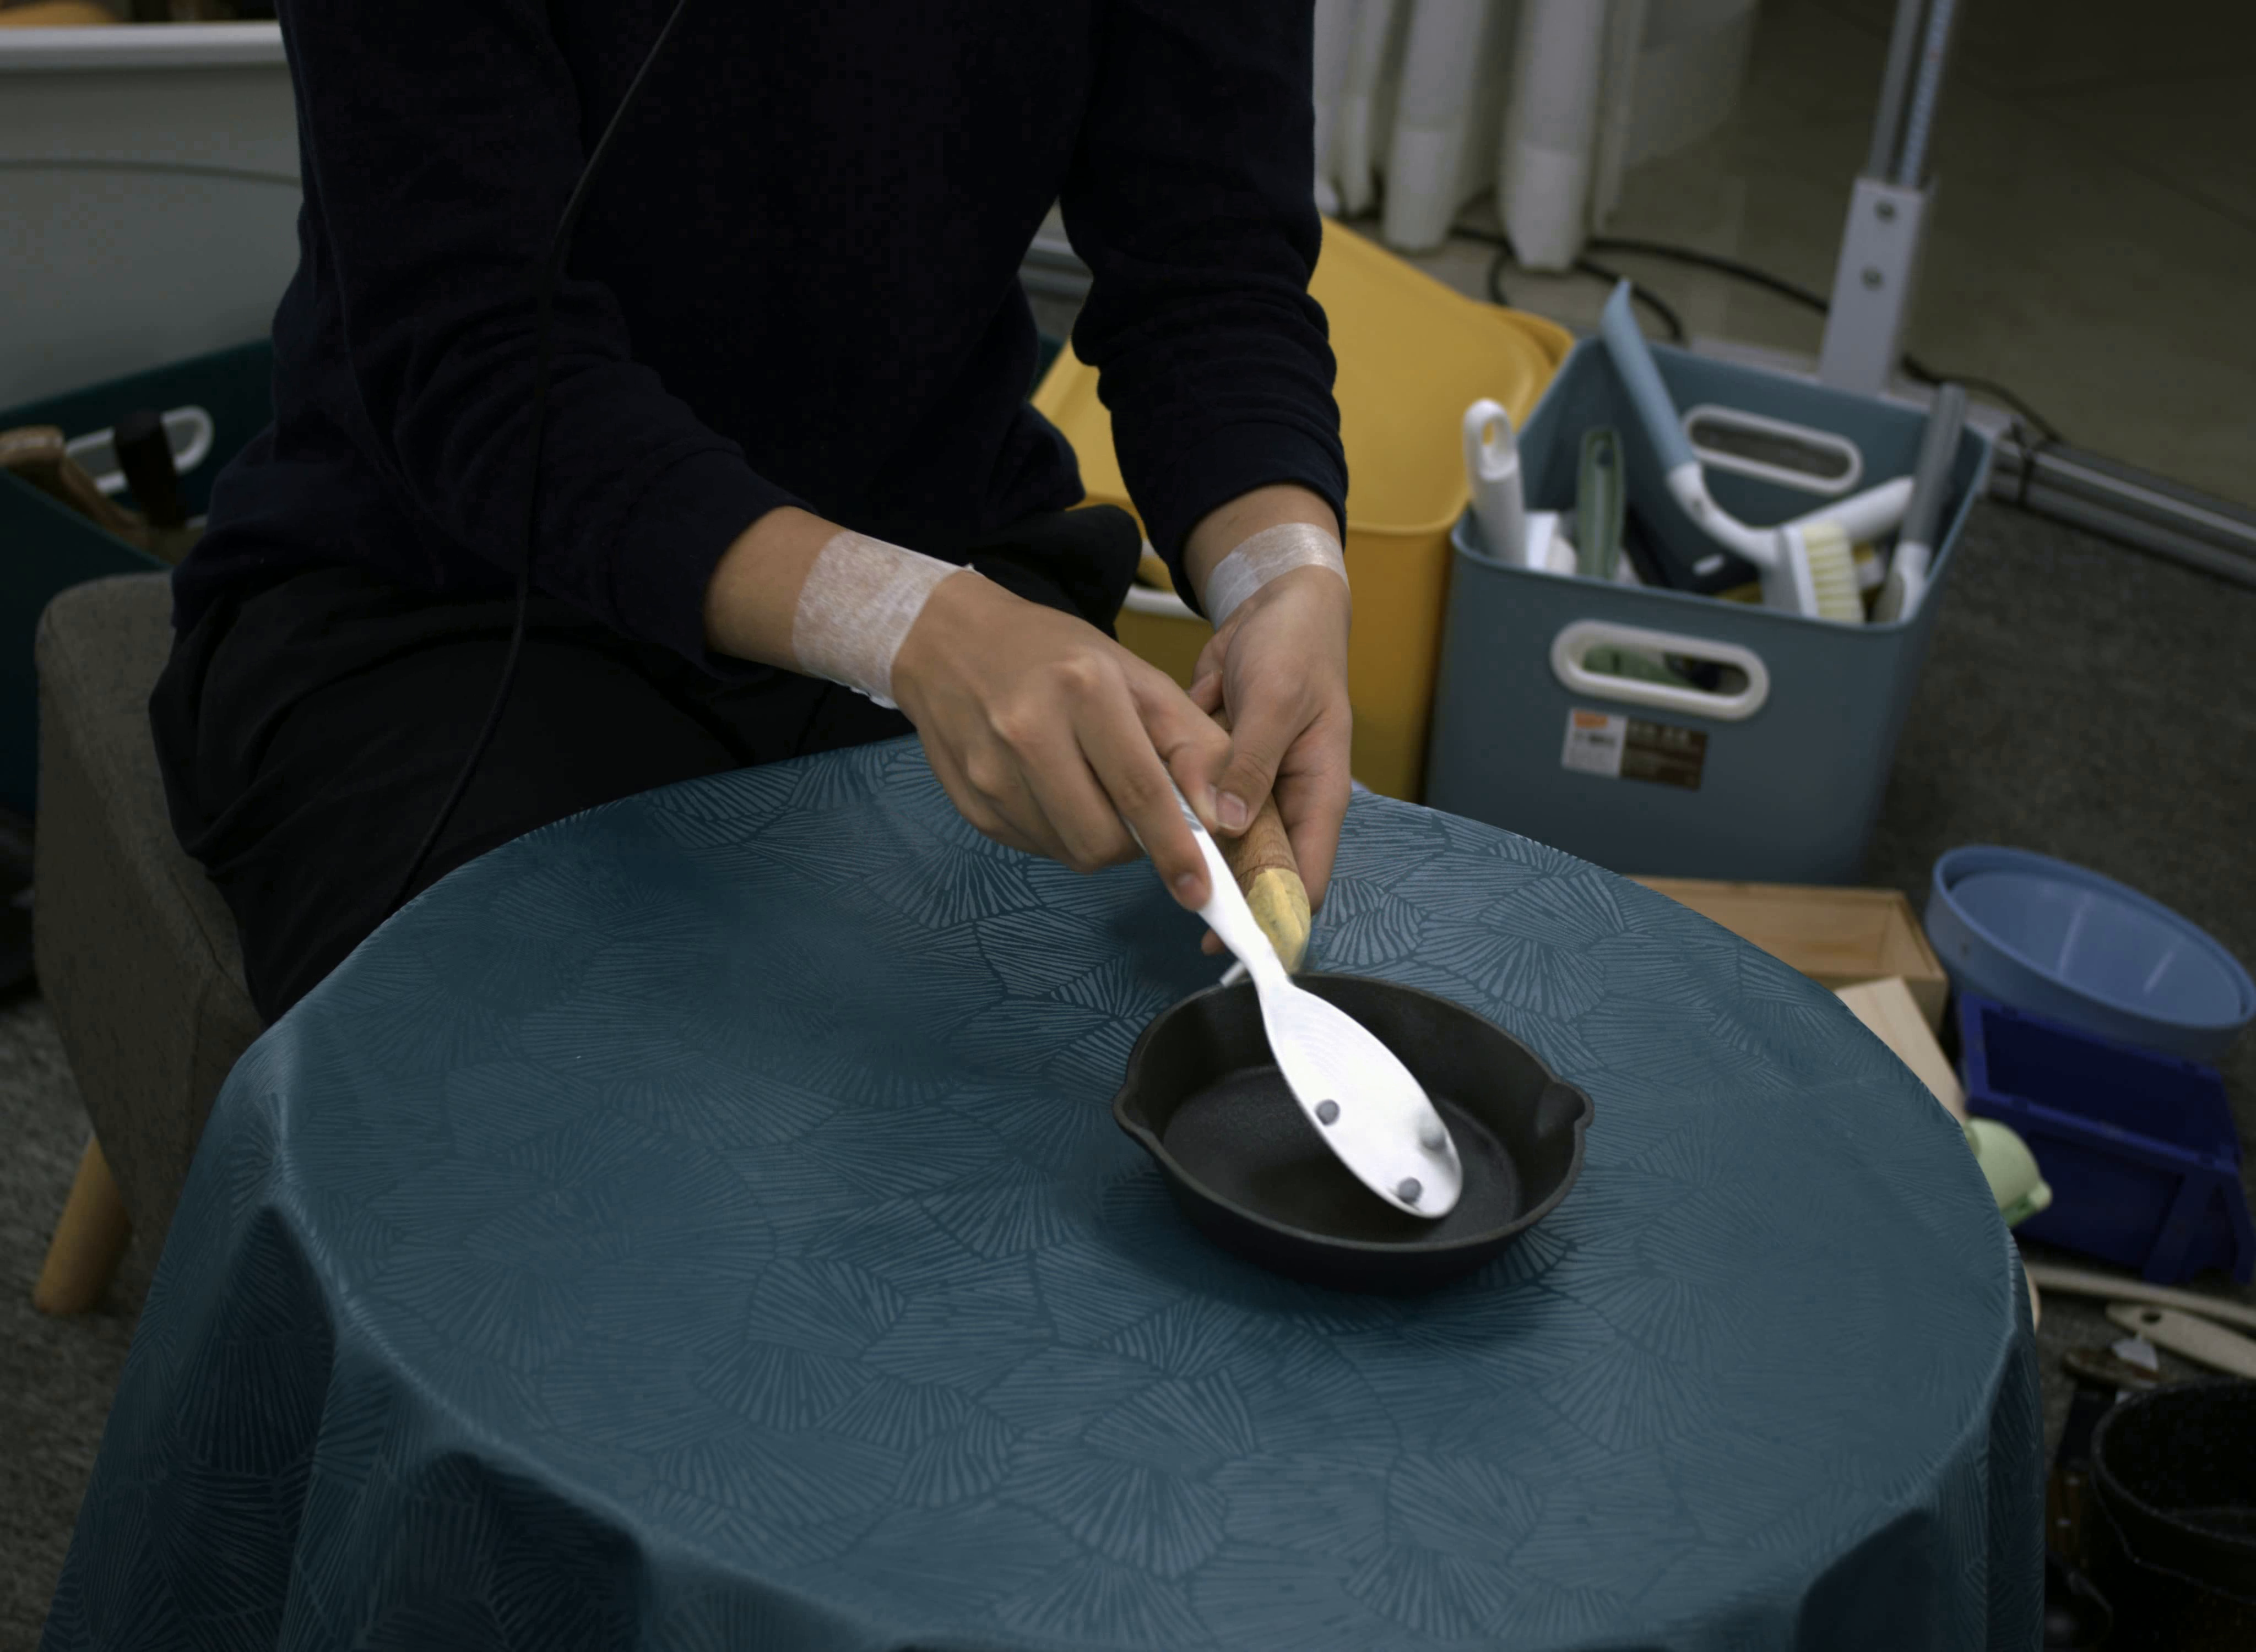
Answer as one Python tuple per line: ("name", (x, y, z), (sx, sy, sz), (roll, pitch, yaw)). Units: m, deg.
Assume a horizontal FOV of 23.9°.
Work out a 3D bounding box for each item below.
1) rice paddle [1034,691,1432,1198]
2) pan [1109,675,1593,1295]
("rice paddle", (0.040, 0.043, 1.822), (0.206, 0.029, 0.068), (53, 33, 11))
("pan", (0.060, 0.053, 1.867), (0.168, 0.049, 0.327), (1, 35, -13))
